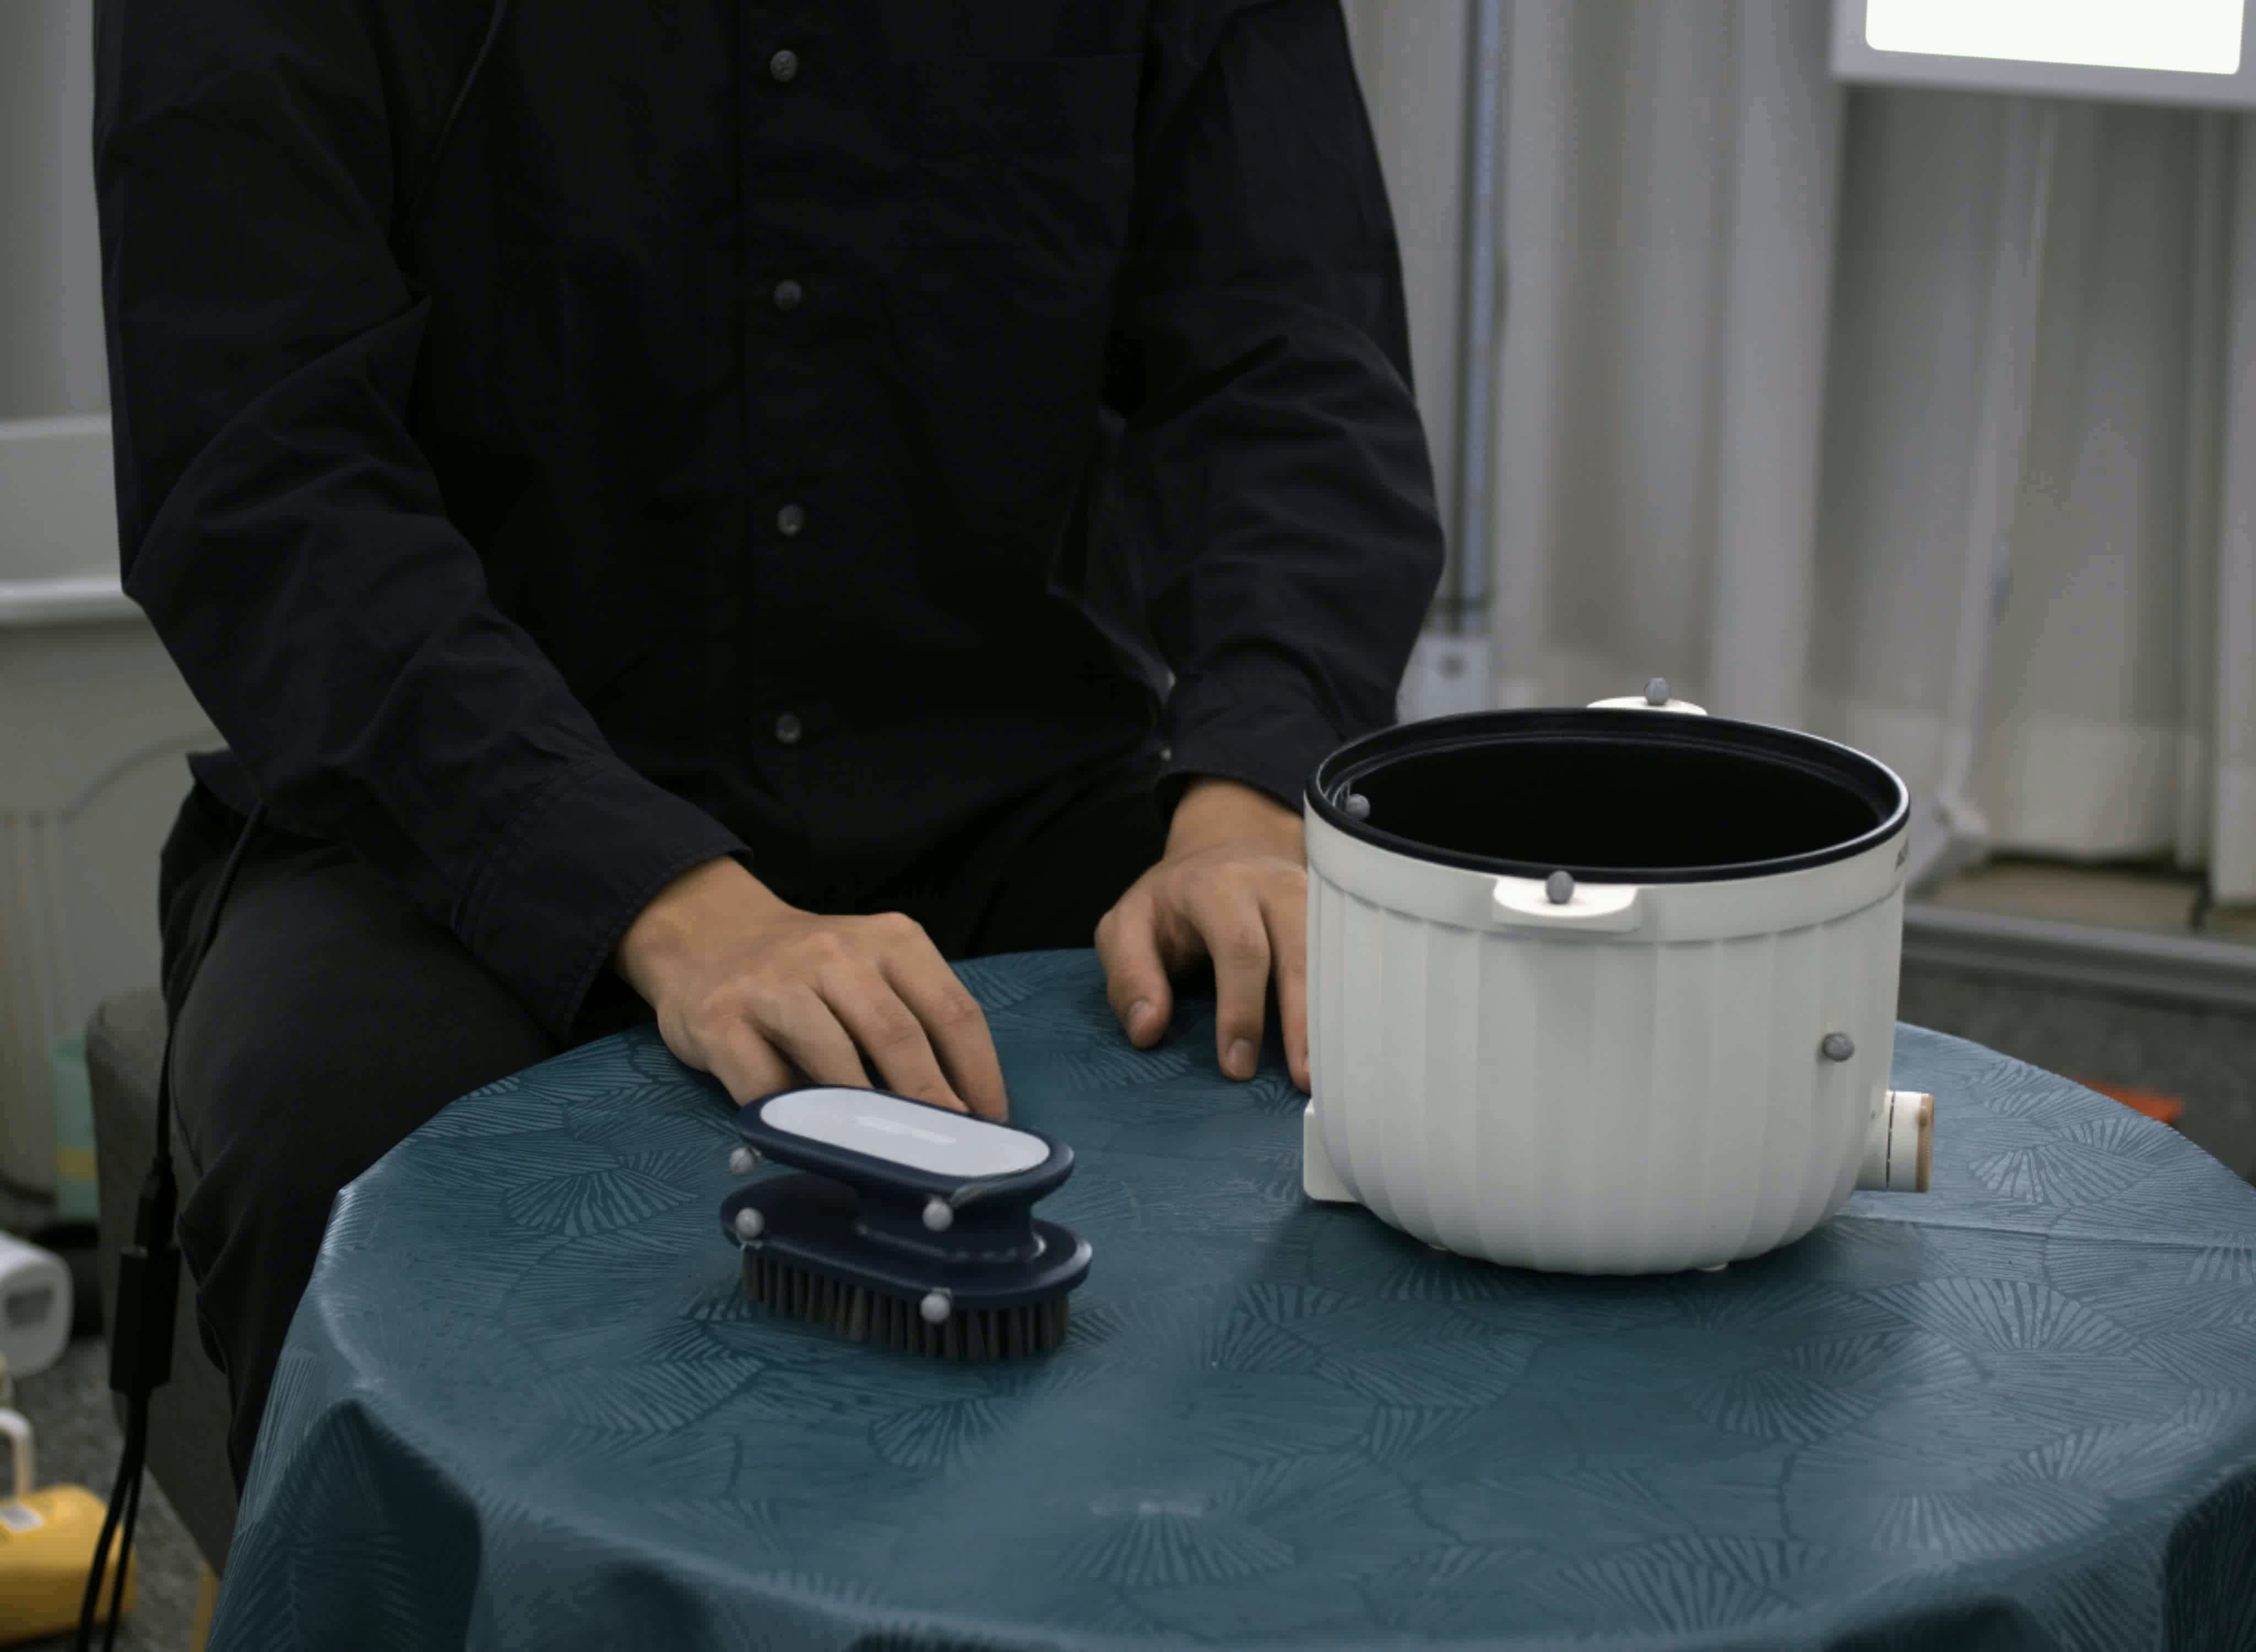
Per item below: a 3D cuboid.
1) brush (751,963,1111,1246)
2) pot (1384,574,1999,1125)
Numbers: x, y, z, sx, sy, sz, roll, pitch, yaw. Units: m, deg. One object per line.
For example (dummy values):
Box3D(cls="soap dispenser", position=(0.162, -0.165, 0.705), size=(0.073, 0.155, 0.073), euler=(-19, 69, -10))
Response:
Box3D(cls="brush", position=(-0.059, 0.083, 1.553), size=(0.120, 0.062, 0.068), euler=(18, 26, 39))
Box3D(cls="pot", position=(0.175, 0.009, 1.636), size=(0.189, 0.144, 0.240), euler=(1, 17, 11))
